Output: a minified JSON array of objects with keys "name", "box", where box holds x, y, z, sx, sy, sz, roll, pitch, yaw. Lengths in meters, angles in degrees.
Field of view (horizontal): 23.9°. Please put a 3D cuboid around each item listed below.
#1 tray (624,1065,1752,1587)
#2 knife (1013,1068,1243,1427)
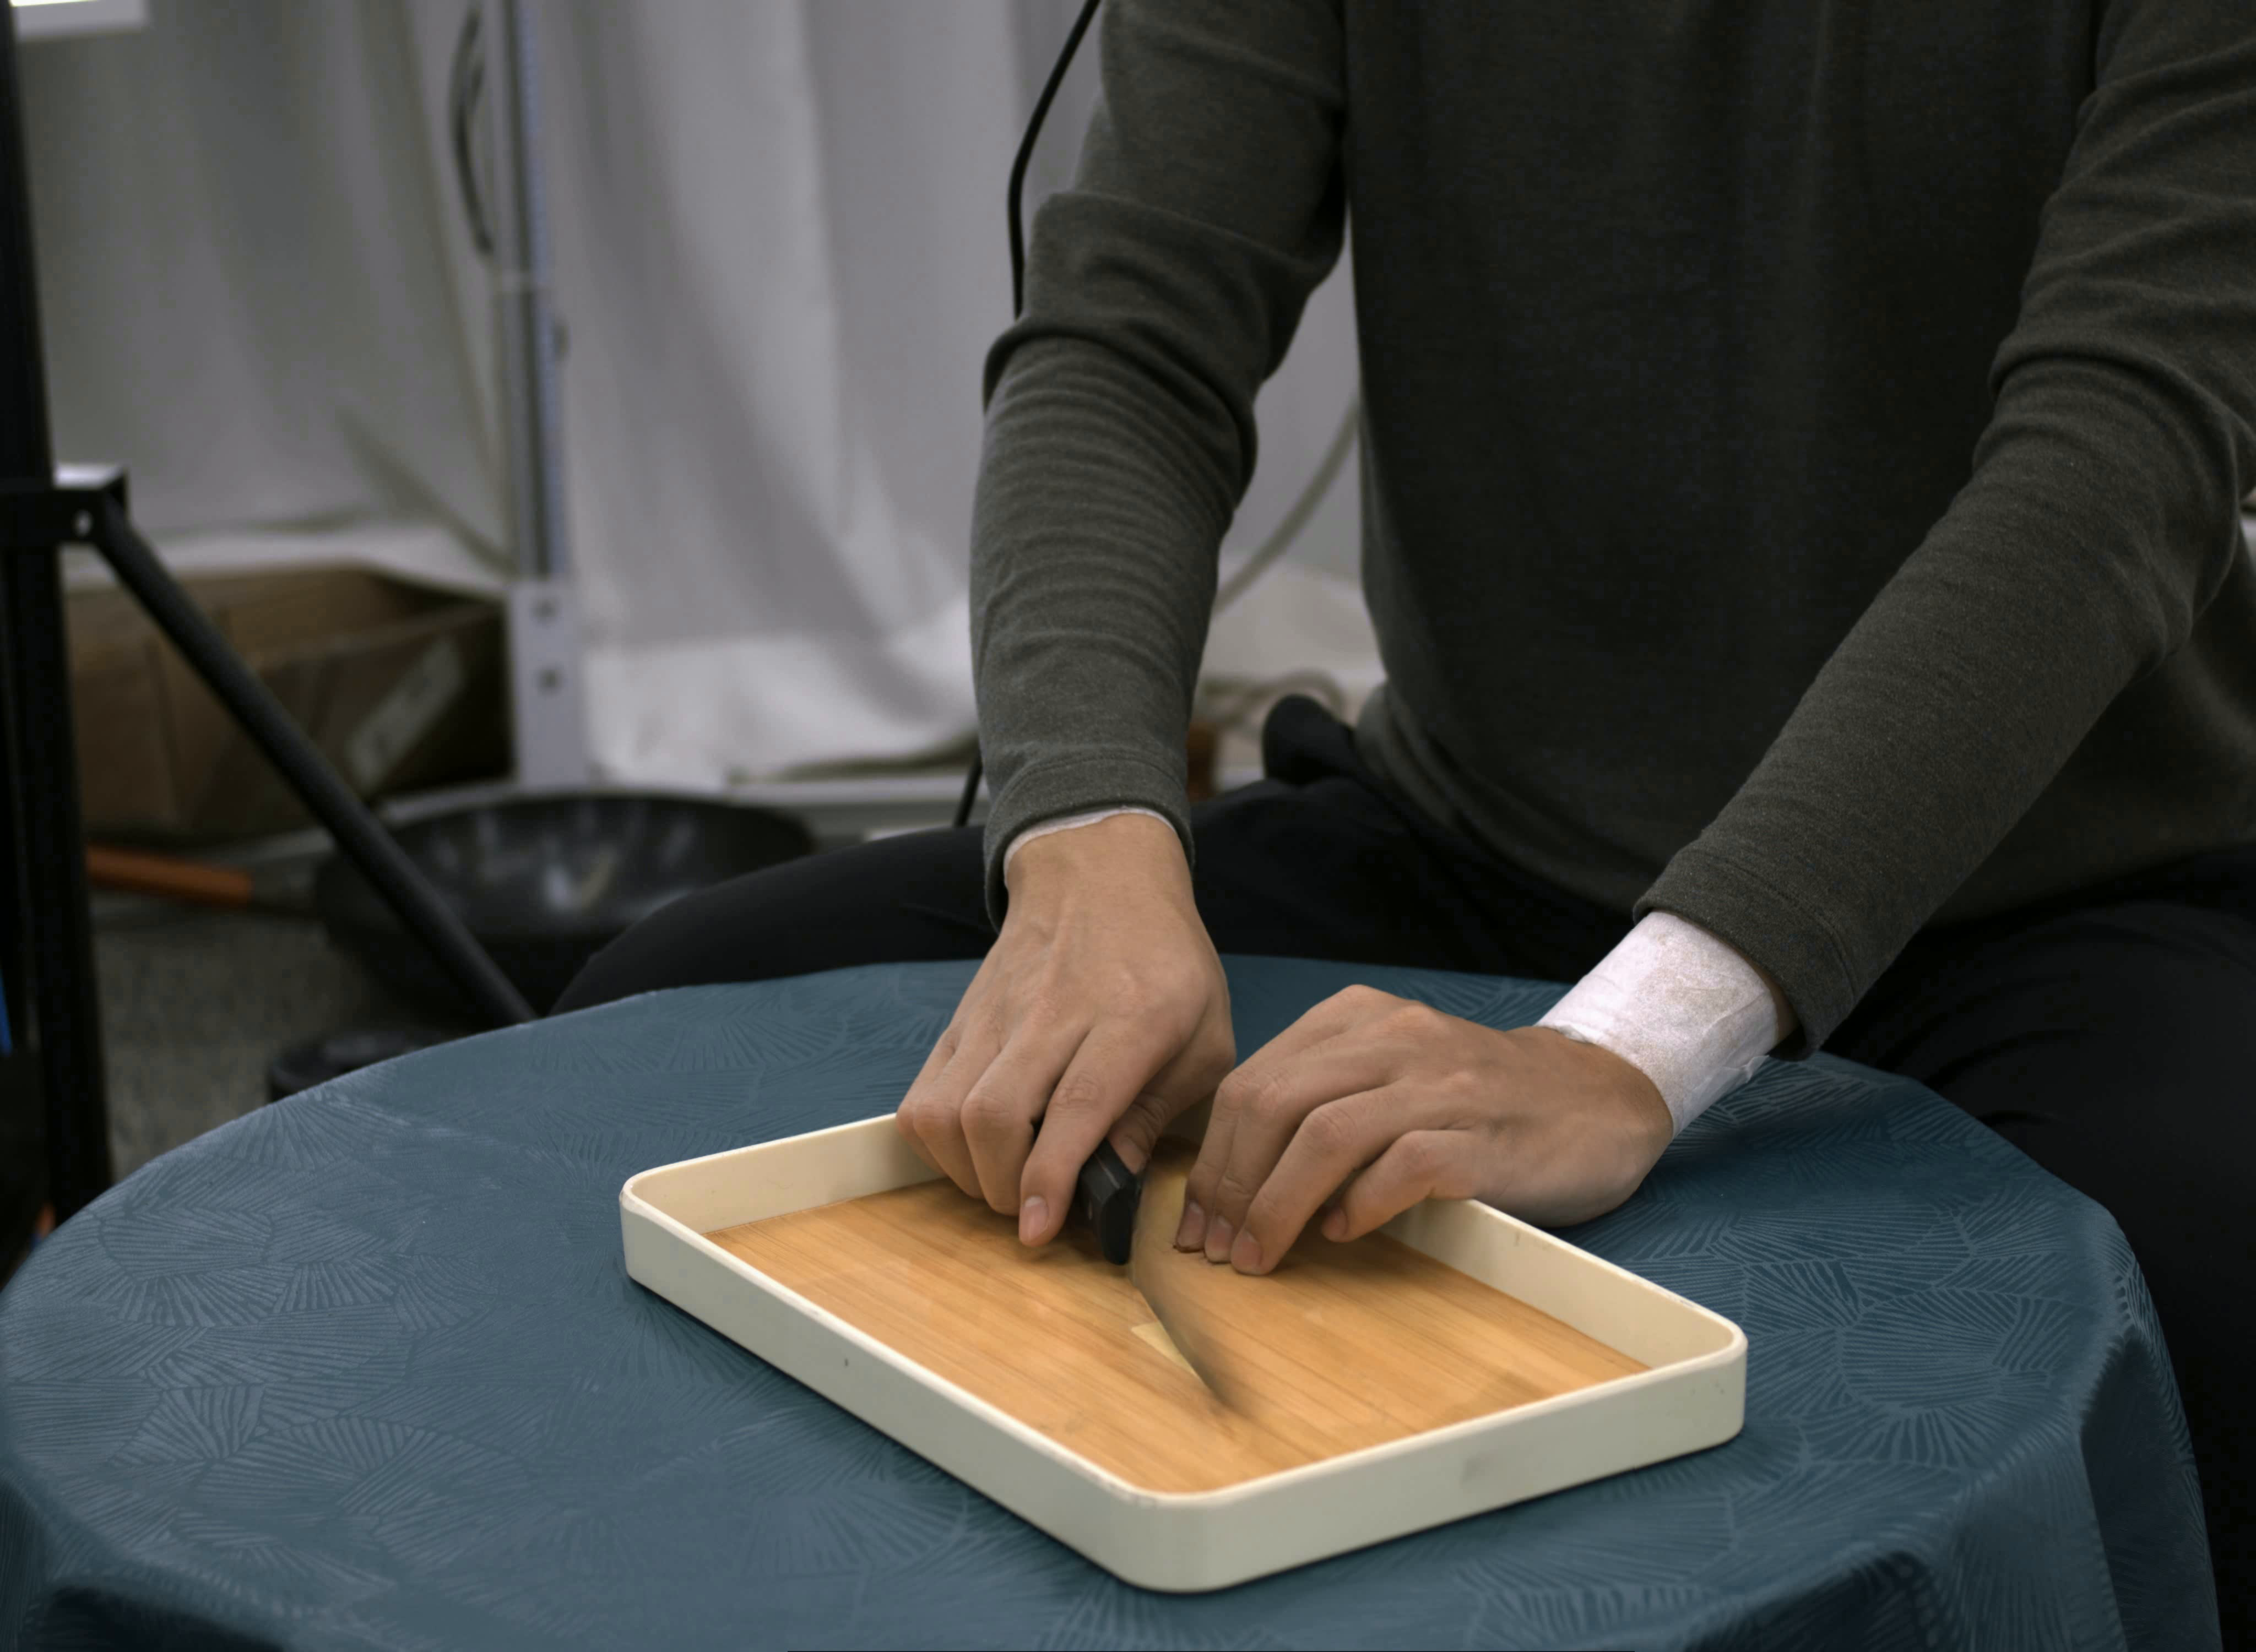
[{"name":"tray","box":[0.009,0.129,1.438,0.187,0.027,0.307,-10,18,-29]},{"name":"knife","box":[0.001,0.113,1.464,0.016,0.024,0.241,-8,20,-12]}]
